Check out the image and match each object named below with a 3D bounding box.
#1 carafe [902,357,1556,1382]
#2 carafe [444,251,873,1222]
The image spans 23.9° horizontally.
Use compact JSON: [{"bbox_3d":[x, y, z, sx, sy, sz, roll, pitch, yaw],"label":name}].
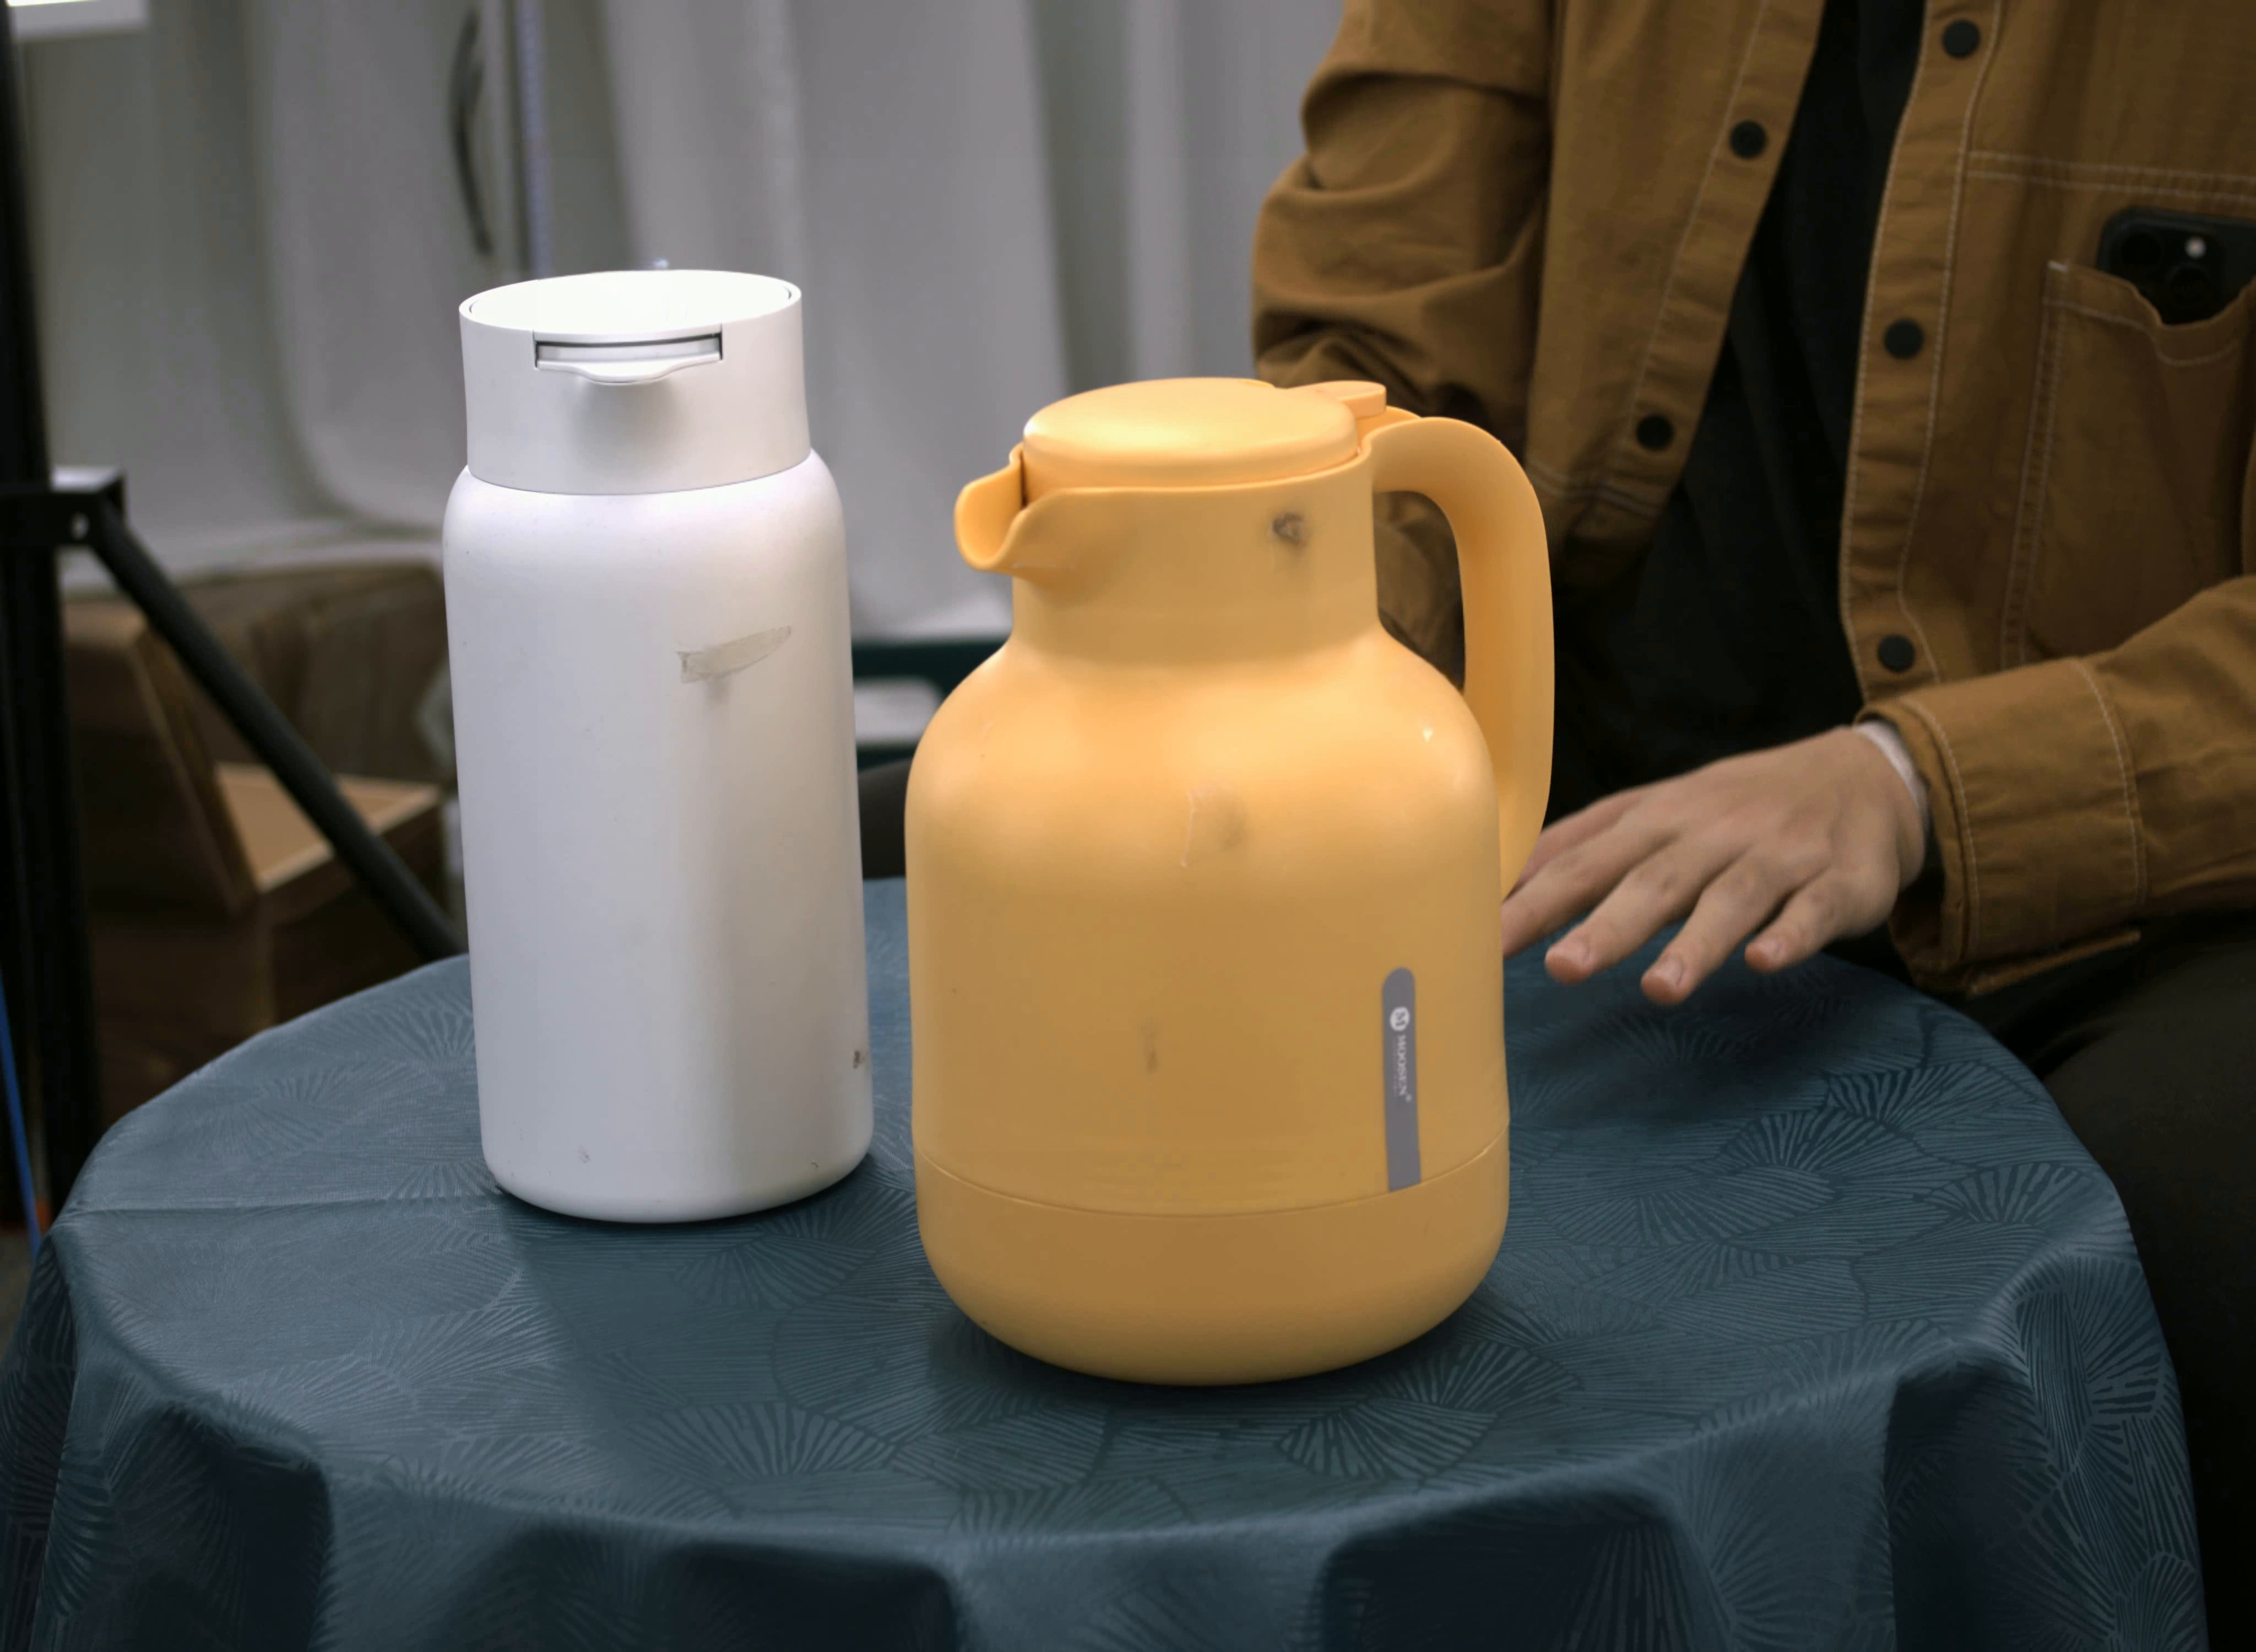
[{"bbox_3d":[0.036,0.004,1.433,0.198,0.260,0.167,-15,22,-34],"label":"carafe"},{"bbox_3d":[-0.140,-0.030,1.579,0.123,0.269,0.174,-5,15,-2],"label":"carafe"}]
